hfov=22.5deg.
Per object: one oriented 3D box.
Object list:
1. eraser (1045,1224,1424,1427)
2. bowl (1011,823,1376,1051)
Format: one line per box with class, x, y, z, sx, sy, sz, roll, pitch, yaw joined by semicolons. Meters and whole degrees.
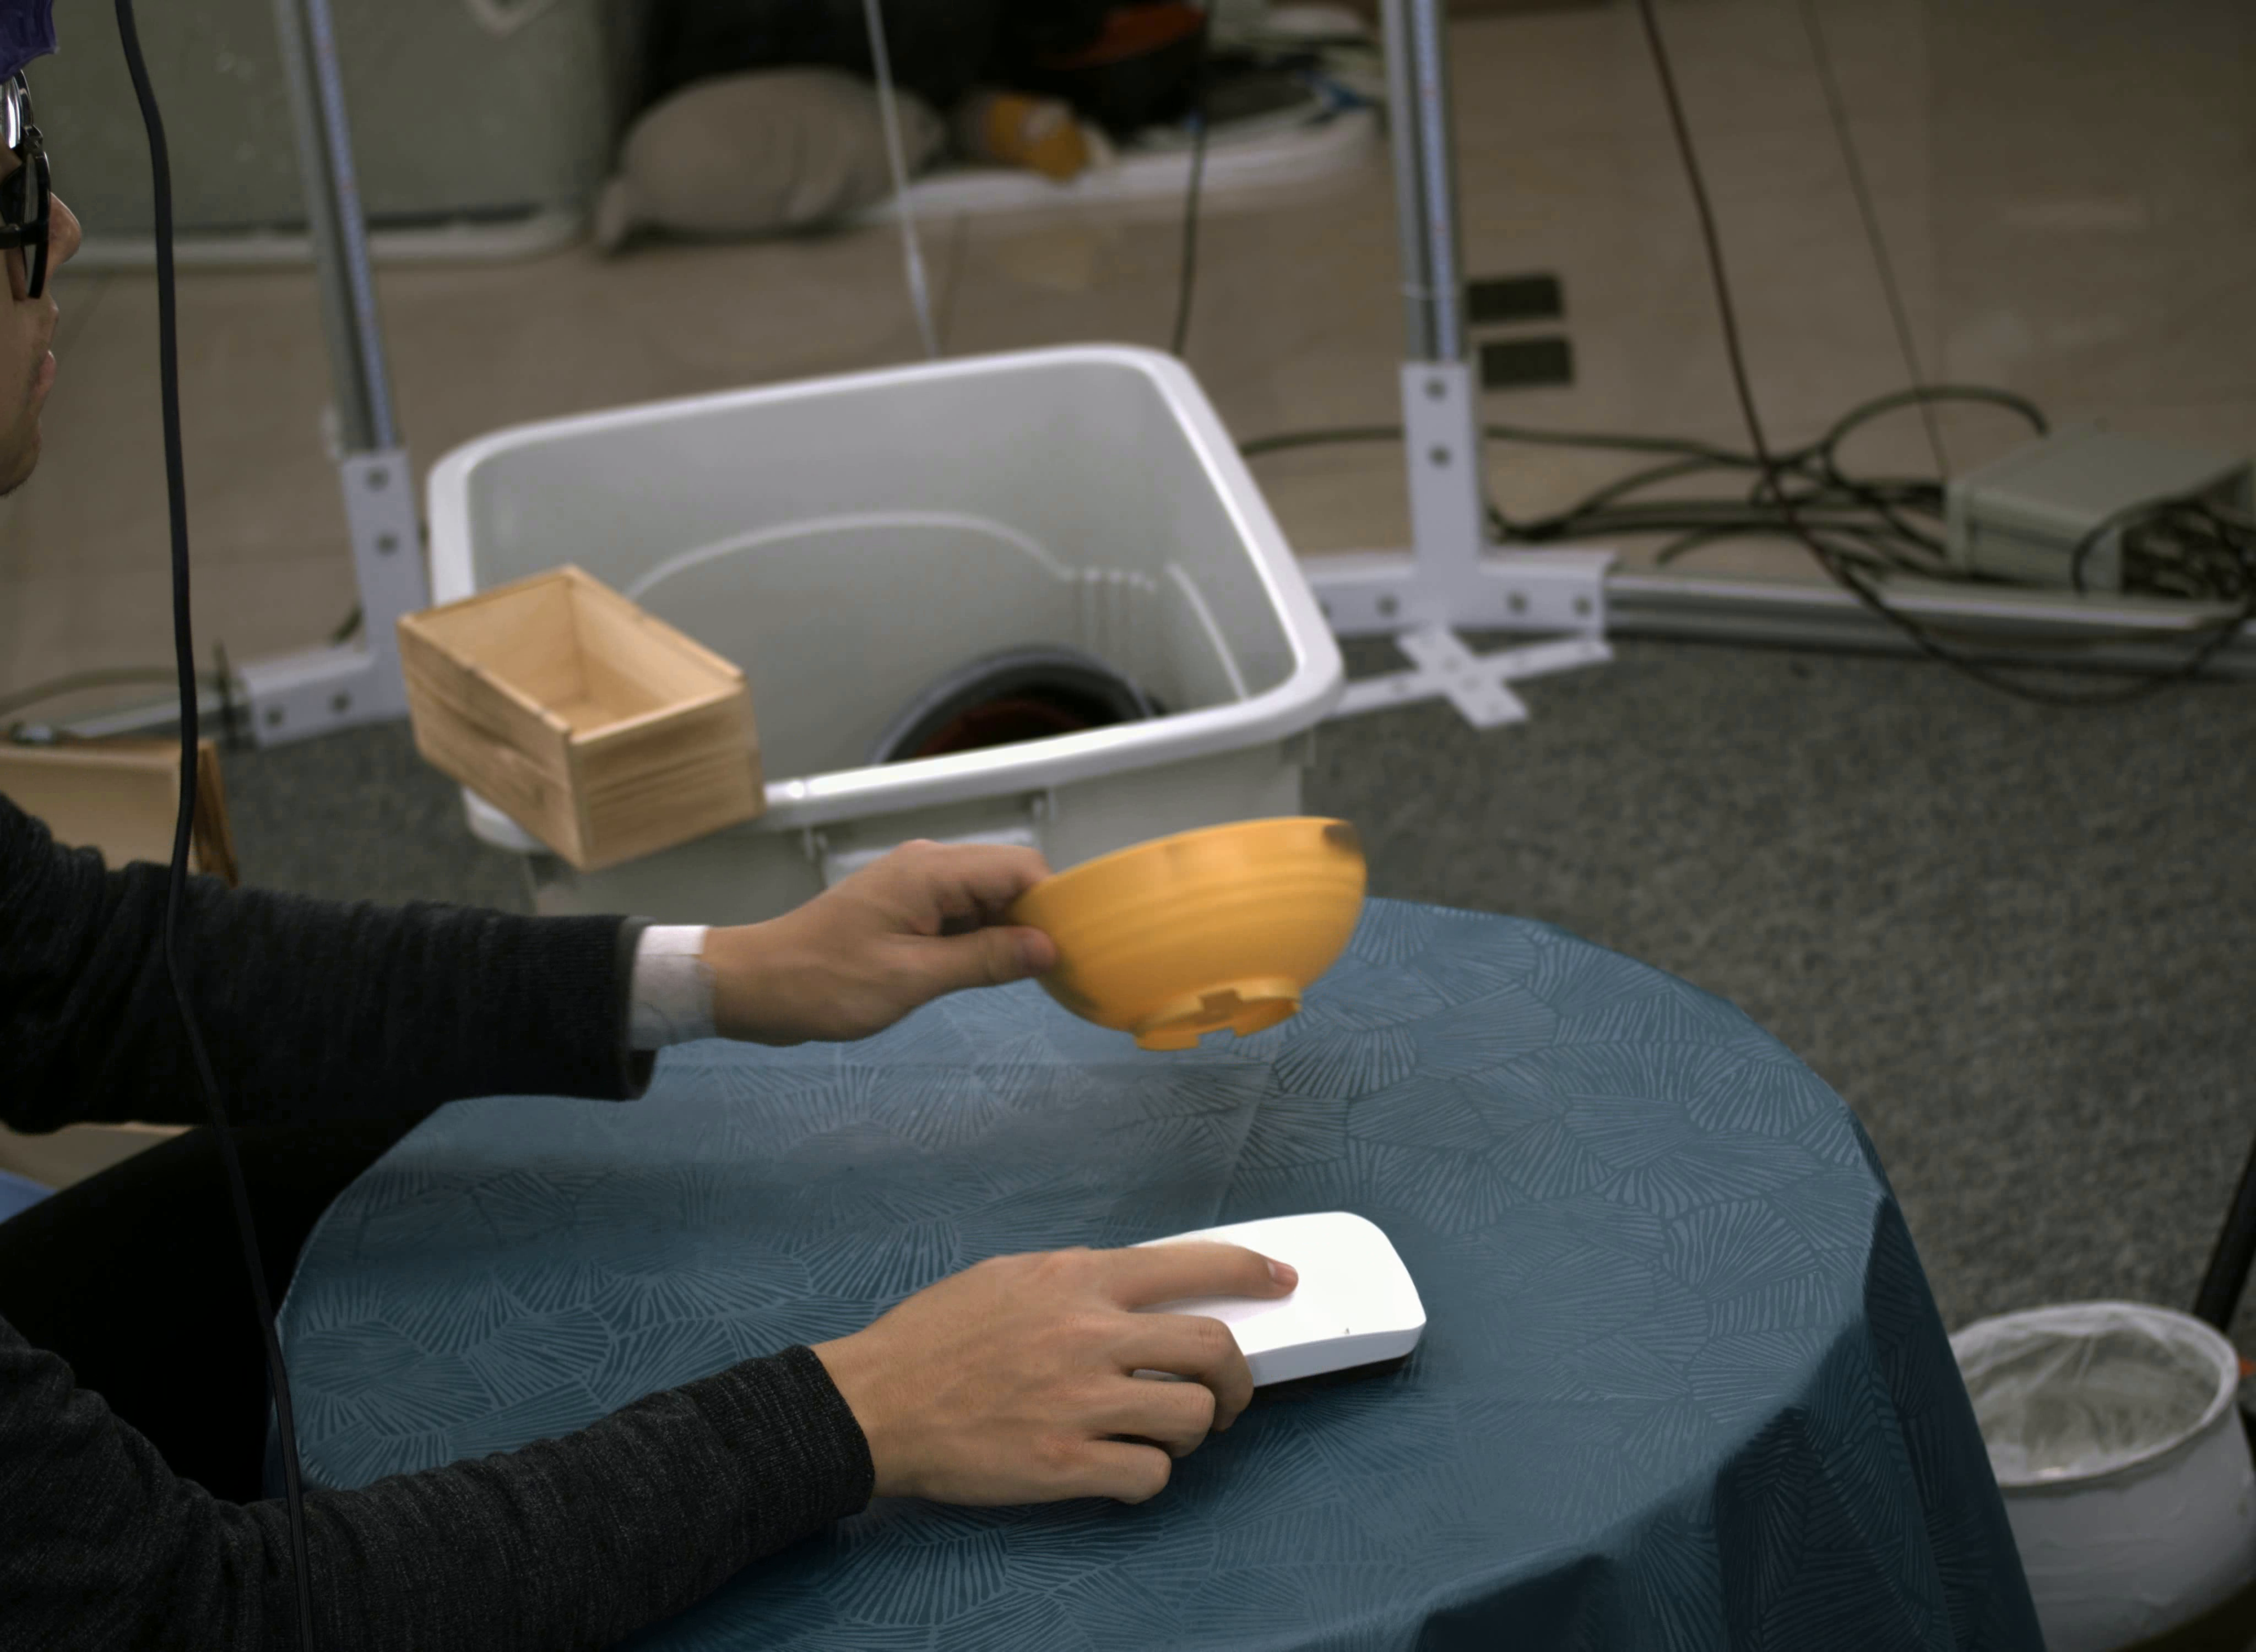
eraser;0.036;0.173;1.996;0.131;0.035;0.062;-8;42;-23
bowl;0.031;0.049;2.159;0.145;0.060;0.146;-12;-13;-3
